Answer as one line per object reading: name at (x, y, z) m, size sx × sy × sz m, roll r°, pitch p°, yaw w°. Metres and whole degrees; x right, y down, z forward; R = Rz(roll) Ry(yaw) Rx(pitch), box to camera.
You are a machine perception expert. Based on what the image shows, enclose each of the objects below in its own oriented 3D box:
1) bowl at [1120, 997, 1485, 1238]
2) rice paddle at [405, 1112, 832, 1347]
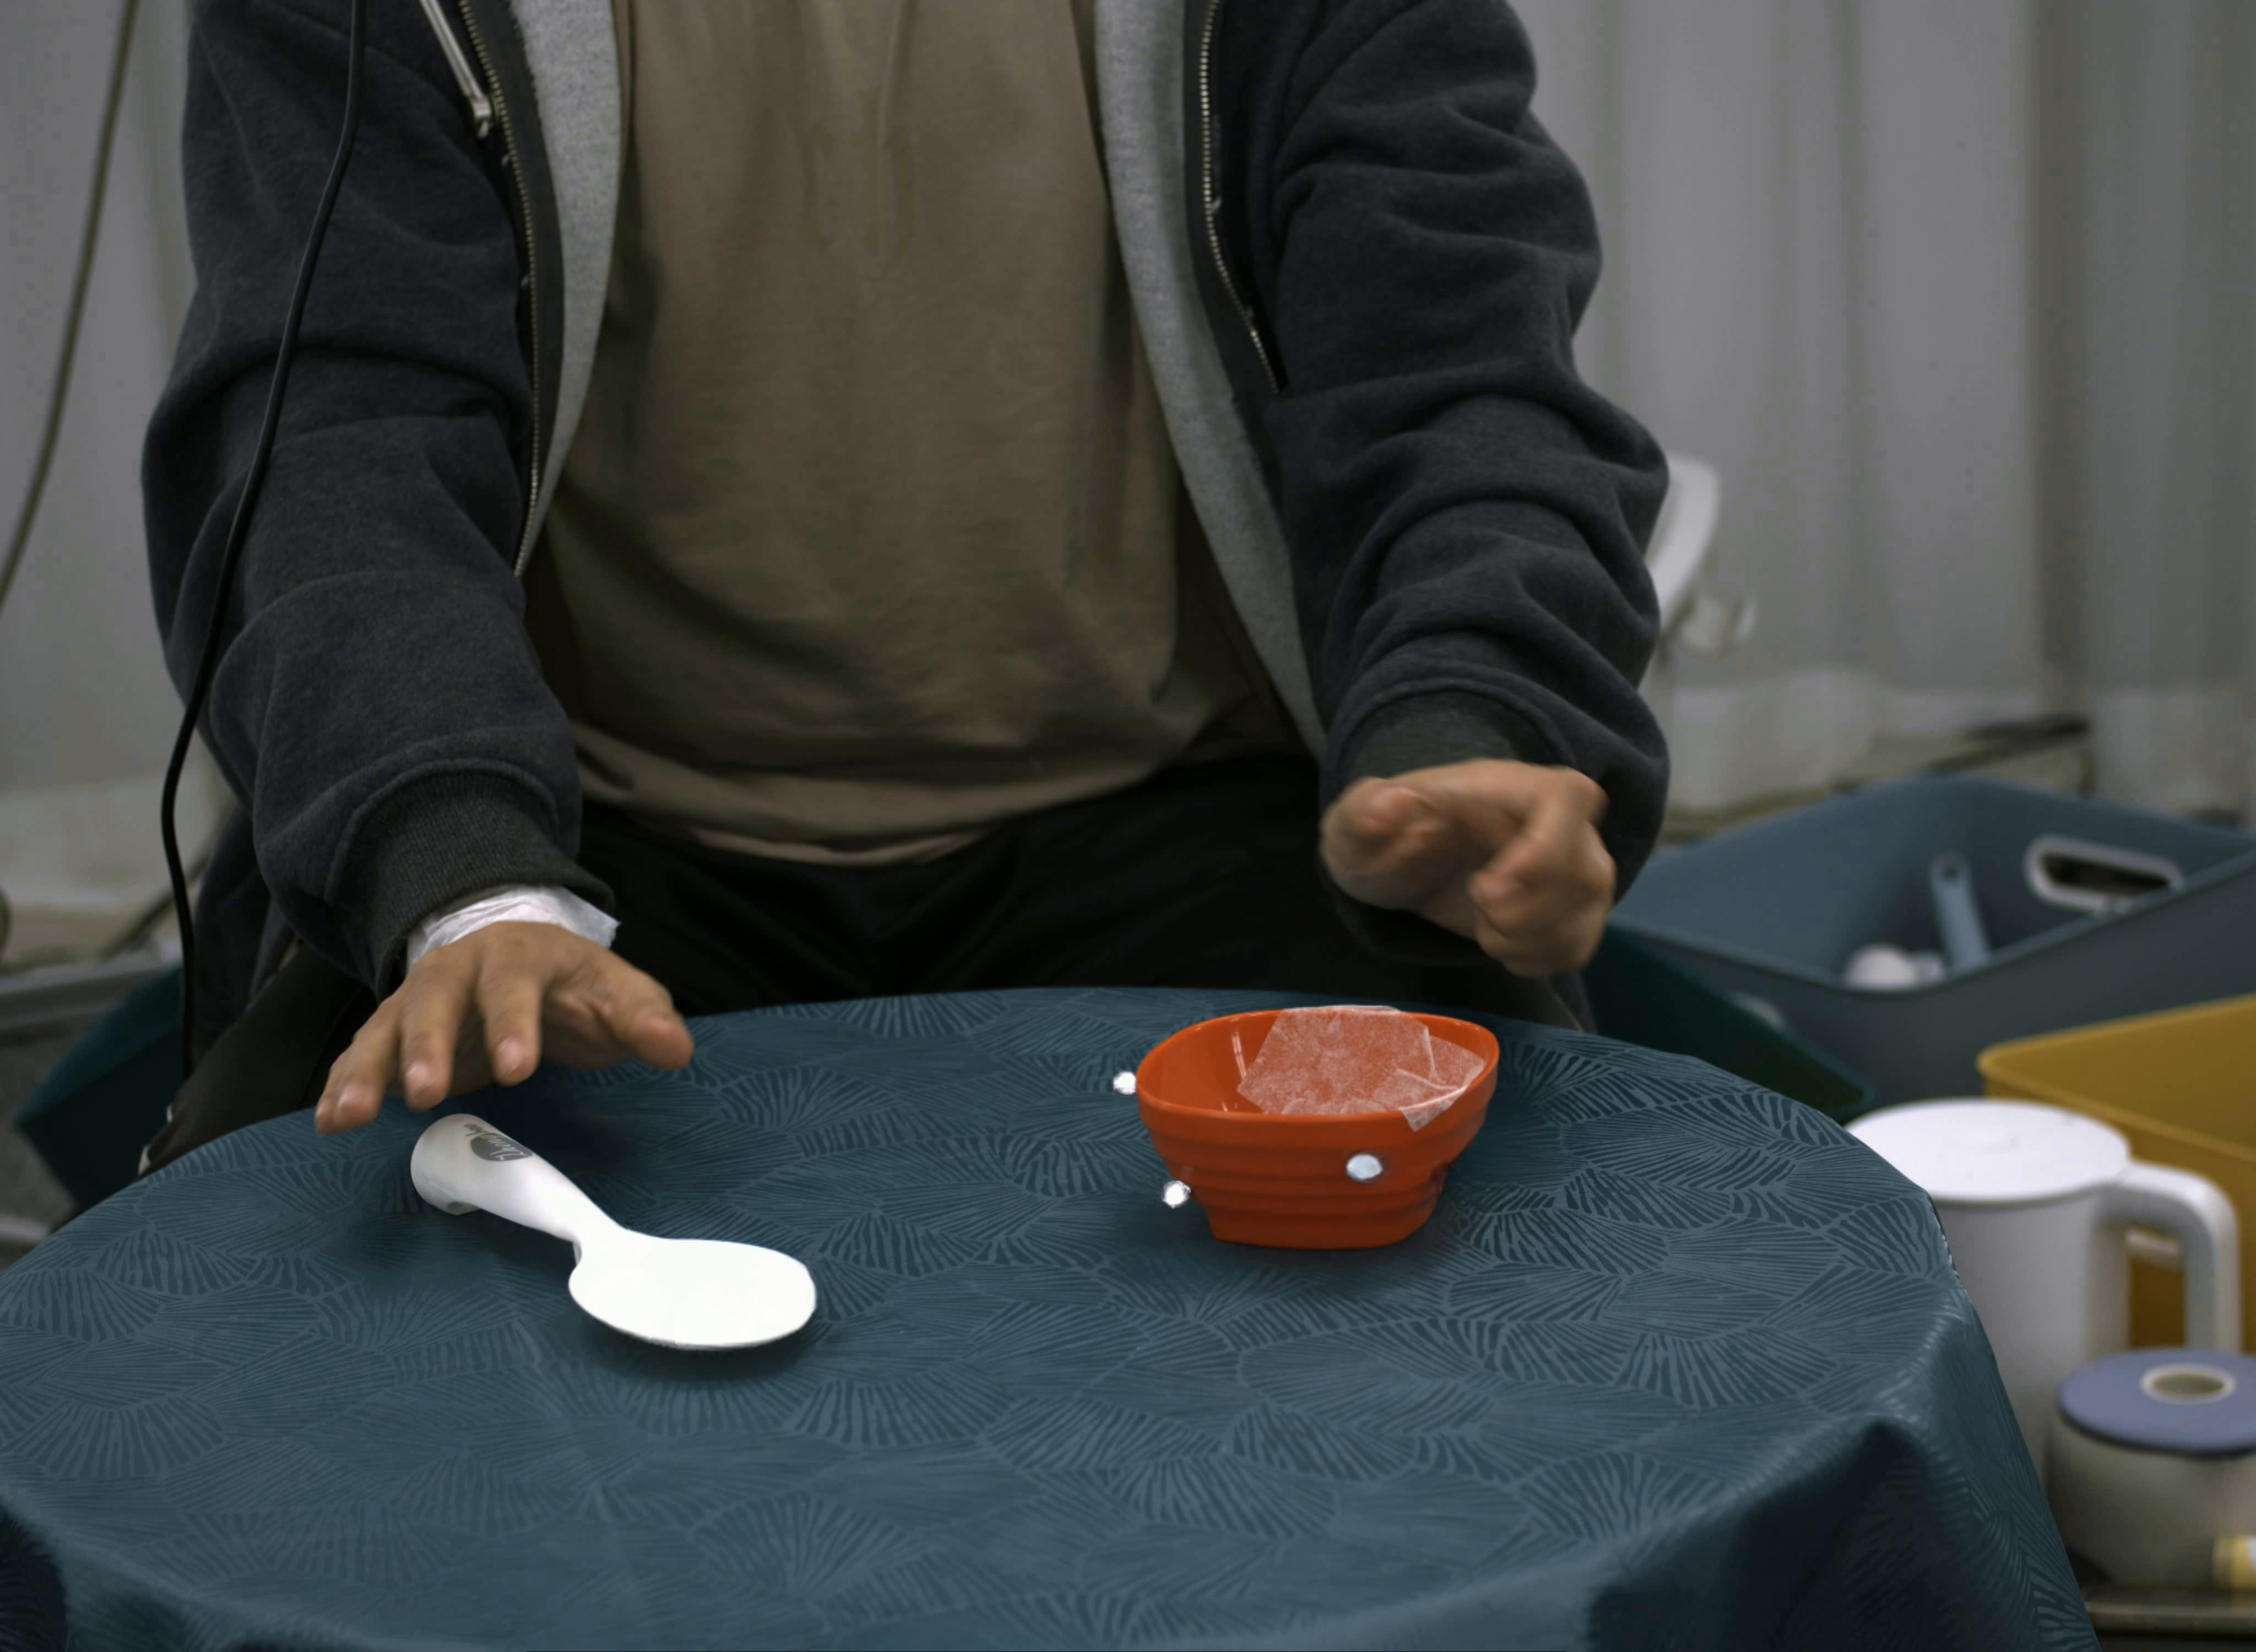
bowl at (0.055, 0.092, 1.680) m, size 0.118 × 0.051 × 0.119 m, roll -4°, pitch 14°, yaw 1°
rice paddle at (-0.158, 0.124, 1.654) m, size 0.068 × 0.029 × 0.207 m, roll -14°, pitch 19°, yaw -32°
